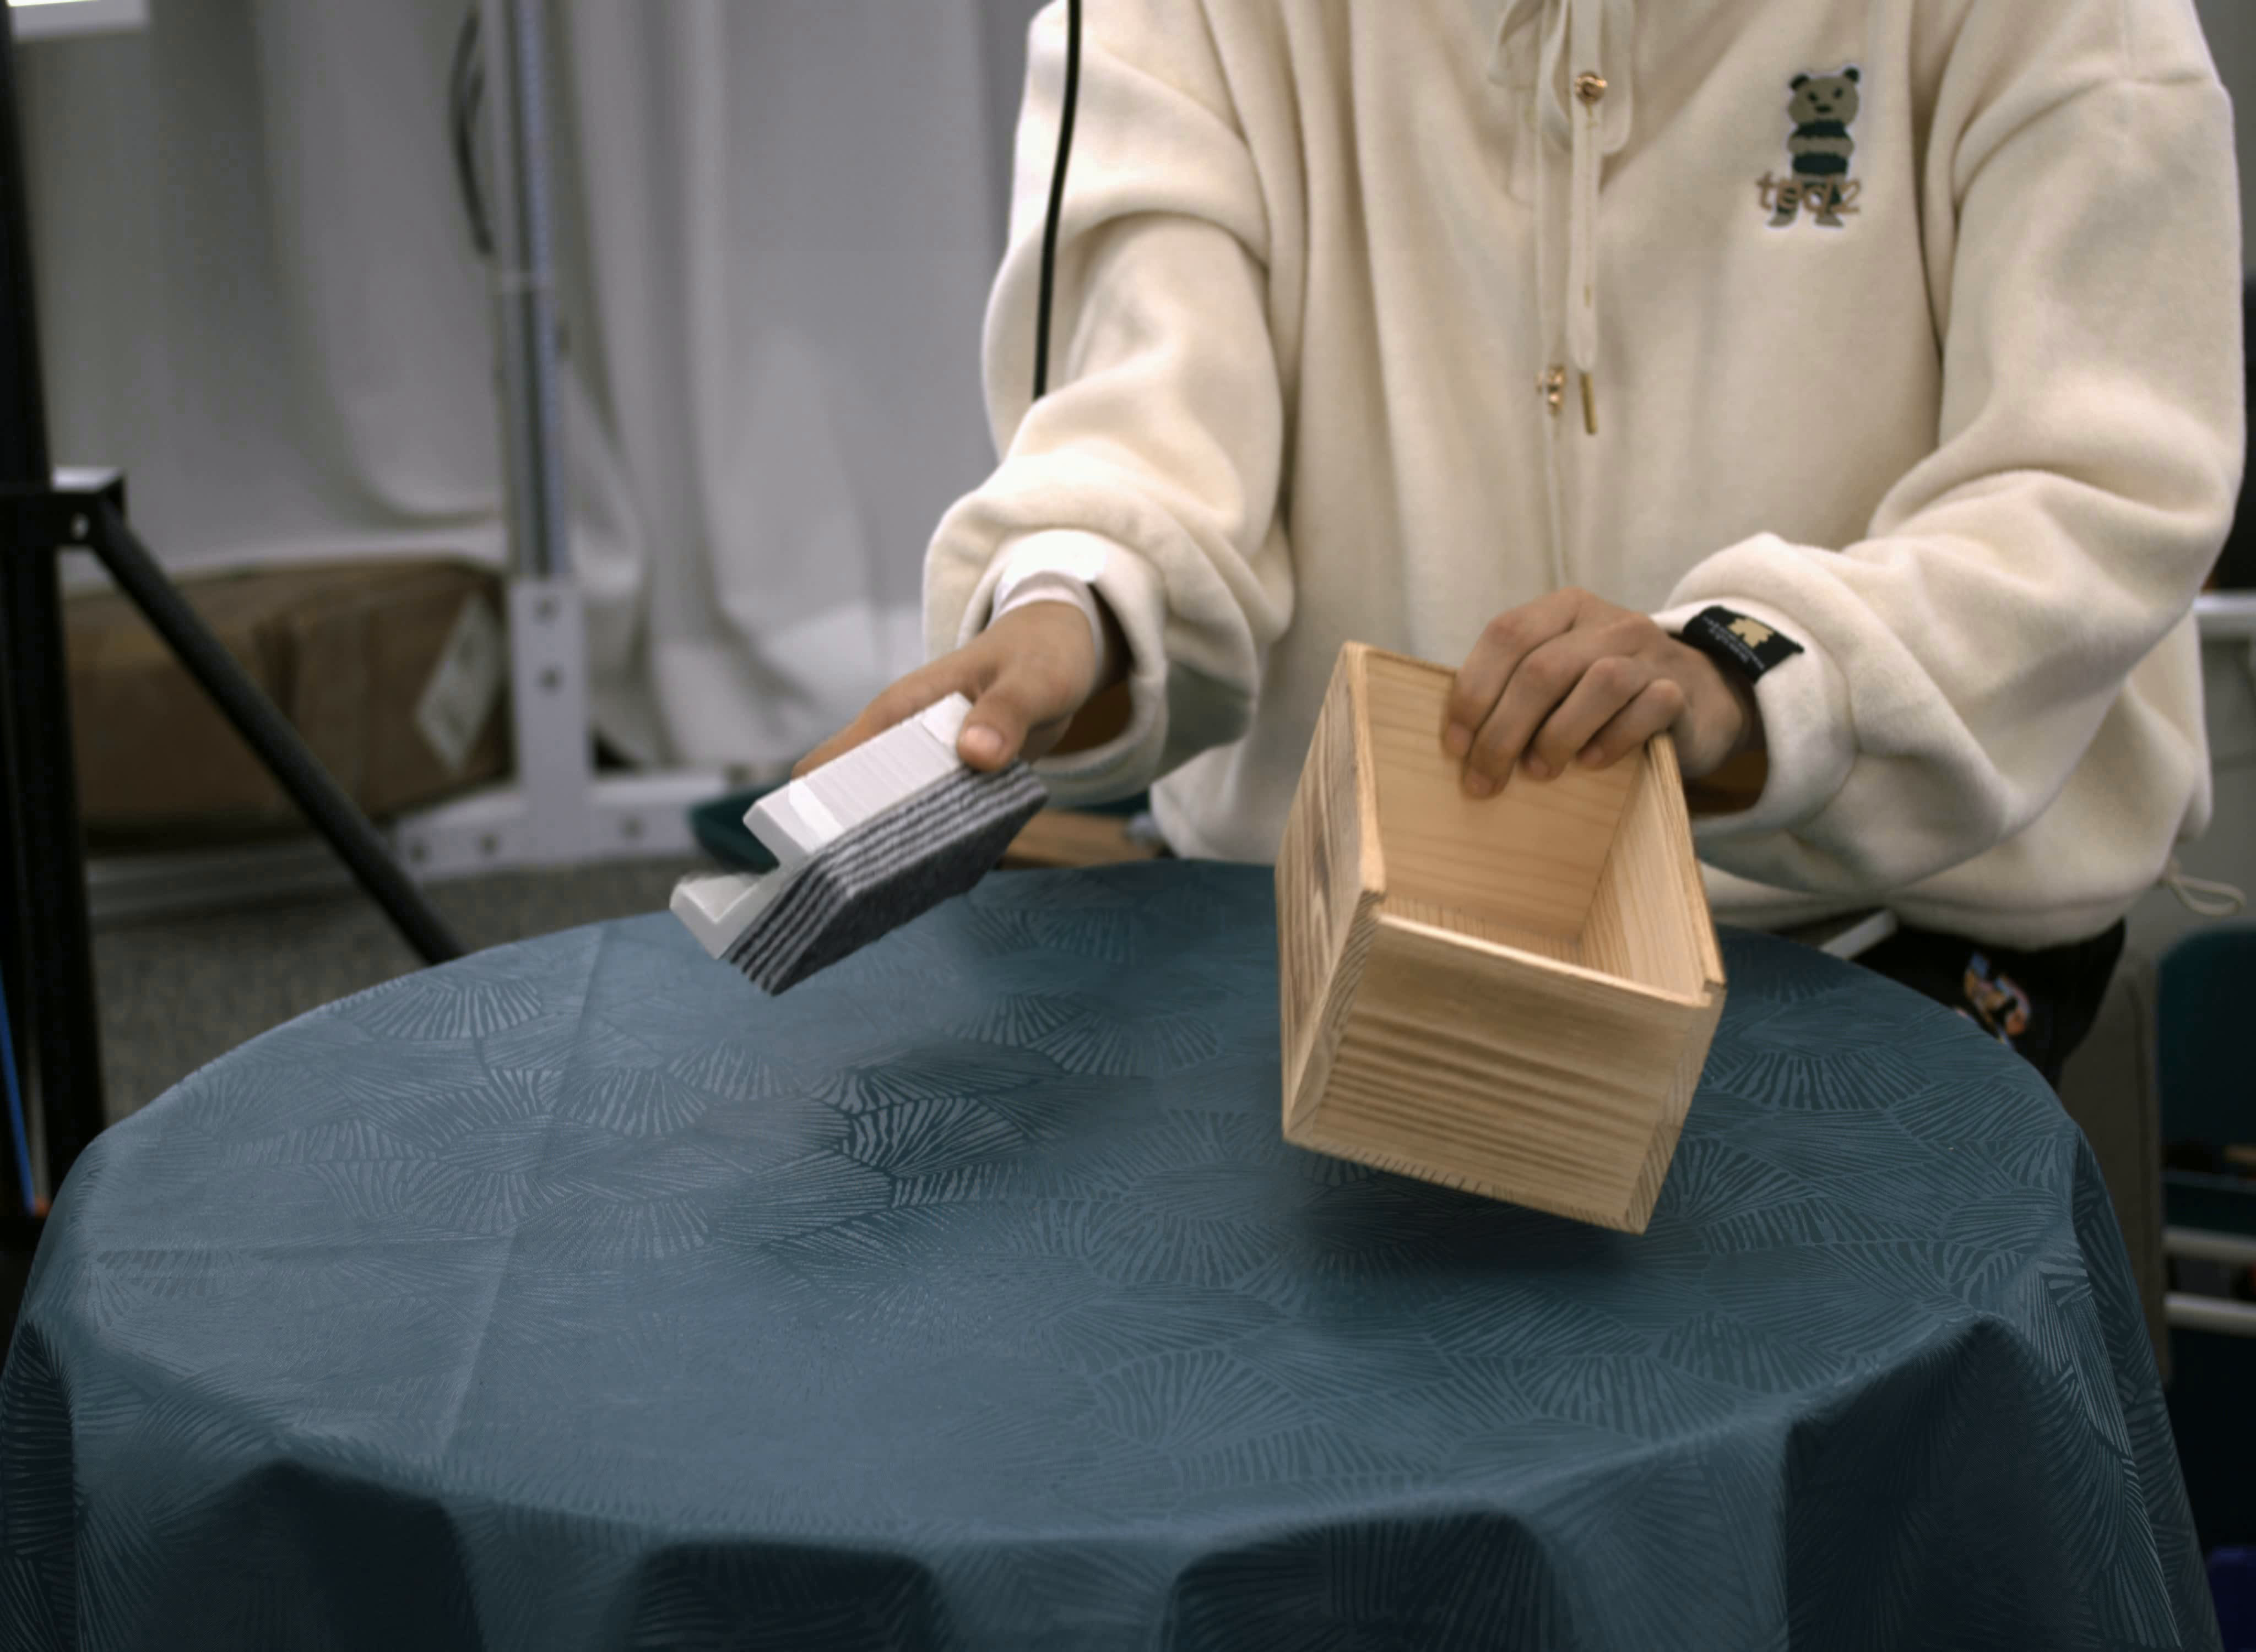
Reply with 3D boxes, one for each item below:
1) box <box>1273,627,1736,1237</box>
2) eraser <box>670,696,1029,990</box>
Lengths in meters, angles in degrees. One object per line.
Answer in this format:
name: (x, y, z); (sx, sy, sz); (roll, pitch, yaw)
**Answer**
box: (0.106, 0.027, 1.553); (0.106, 0.080, 0.212); (16, 21, -5)
eraser: (-0.081, 0.004, 1.609); (0.047, 0.050, 0.132); (42, 26, 8)
